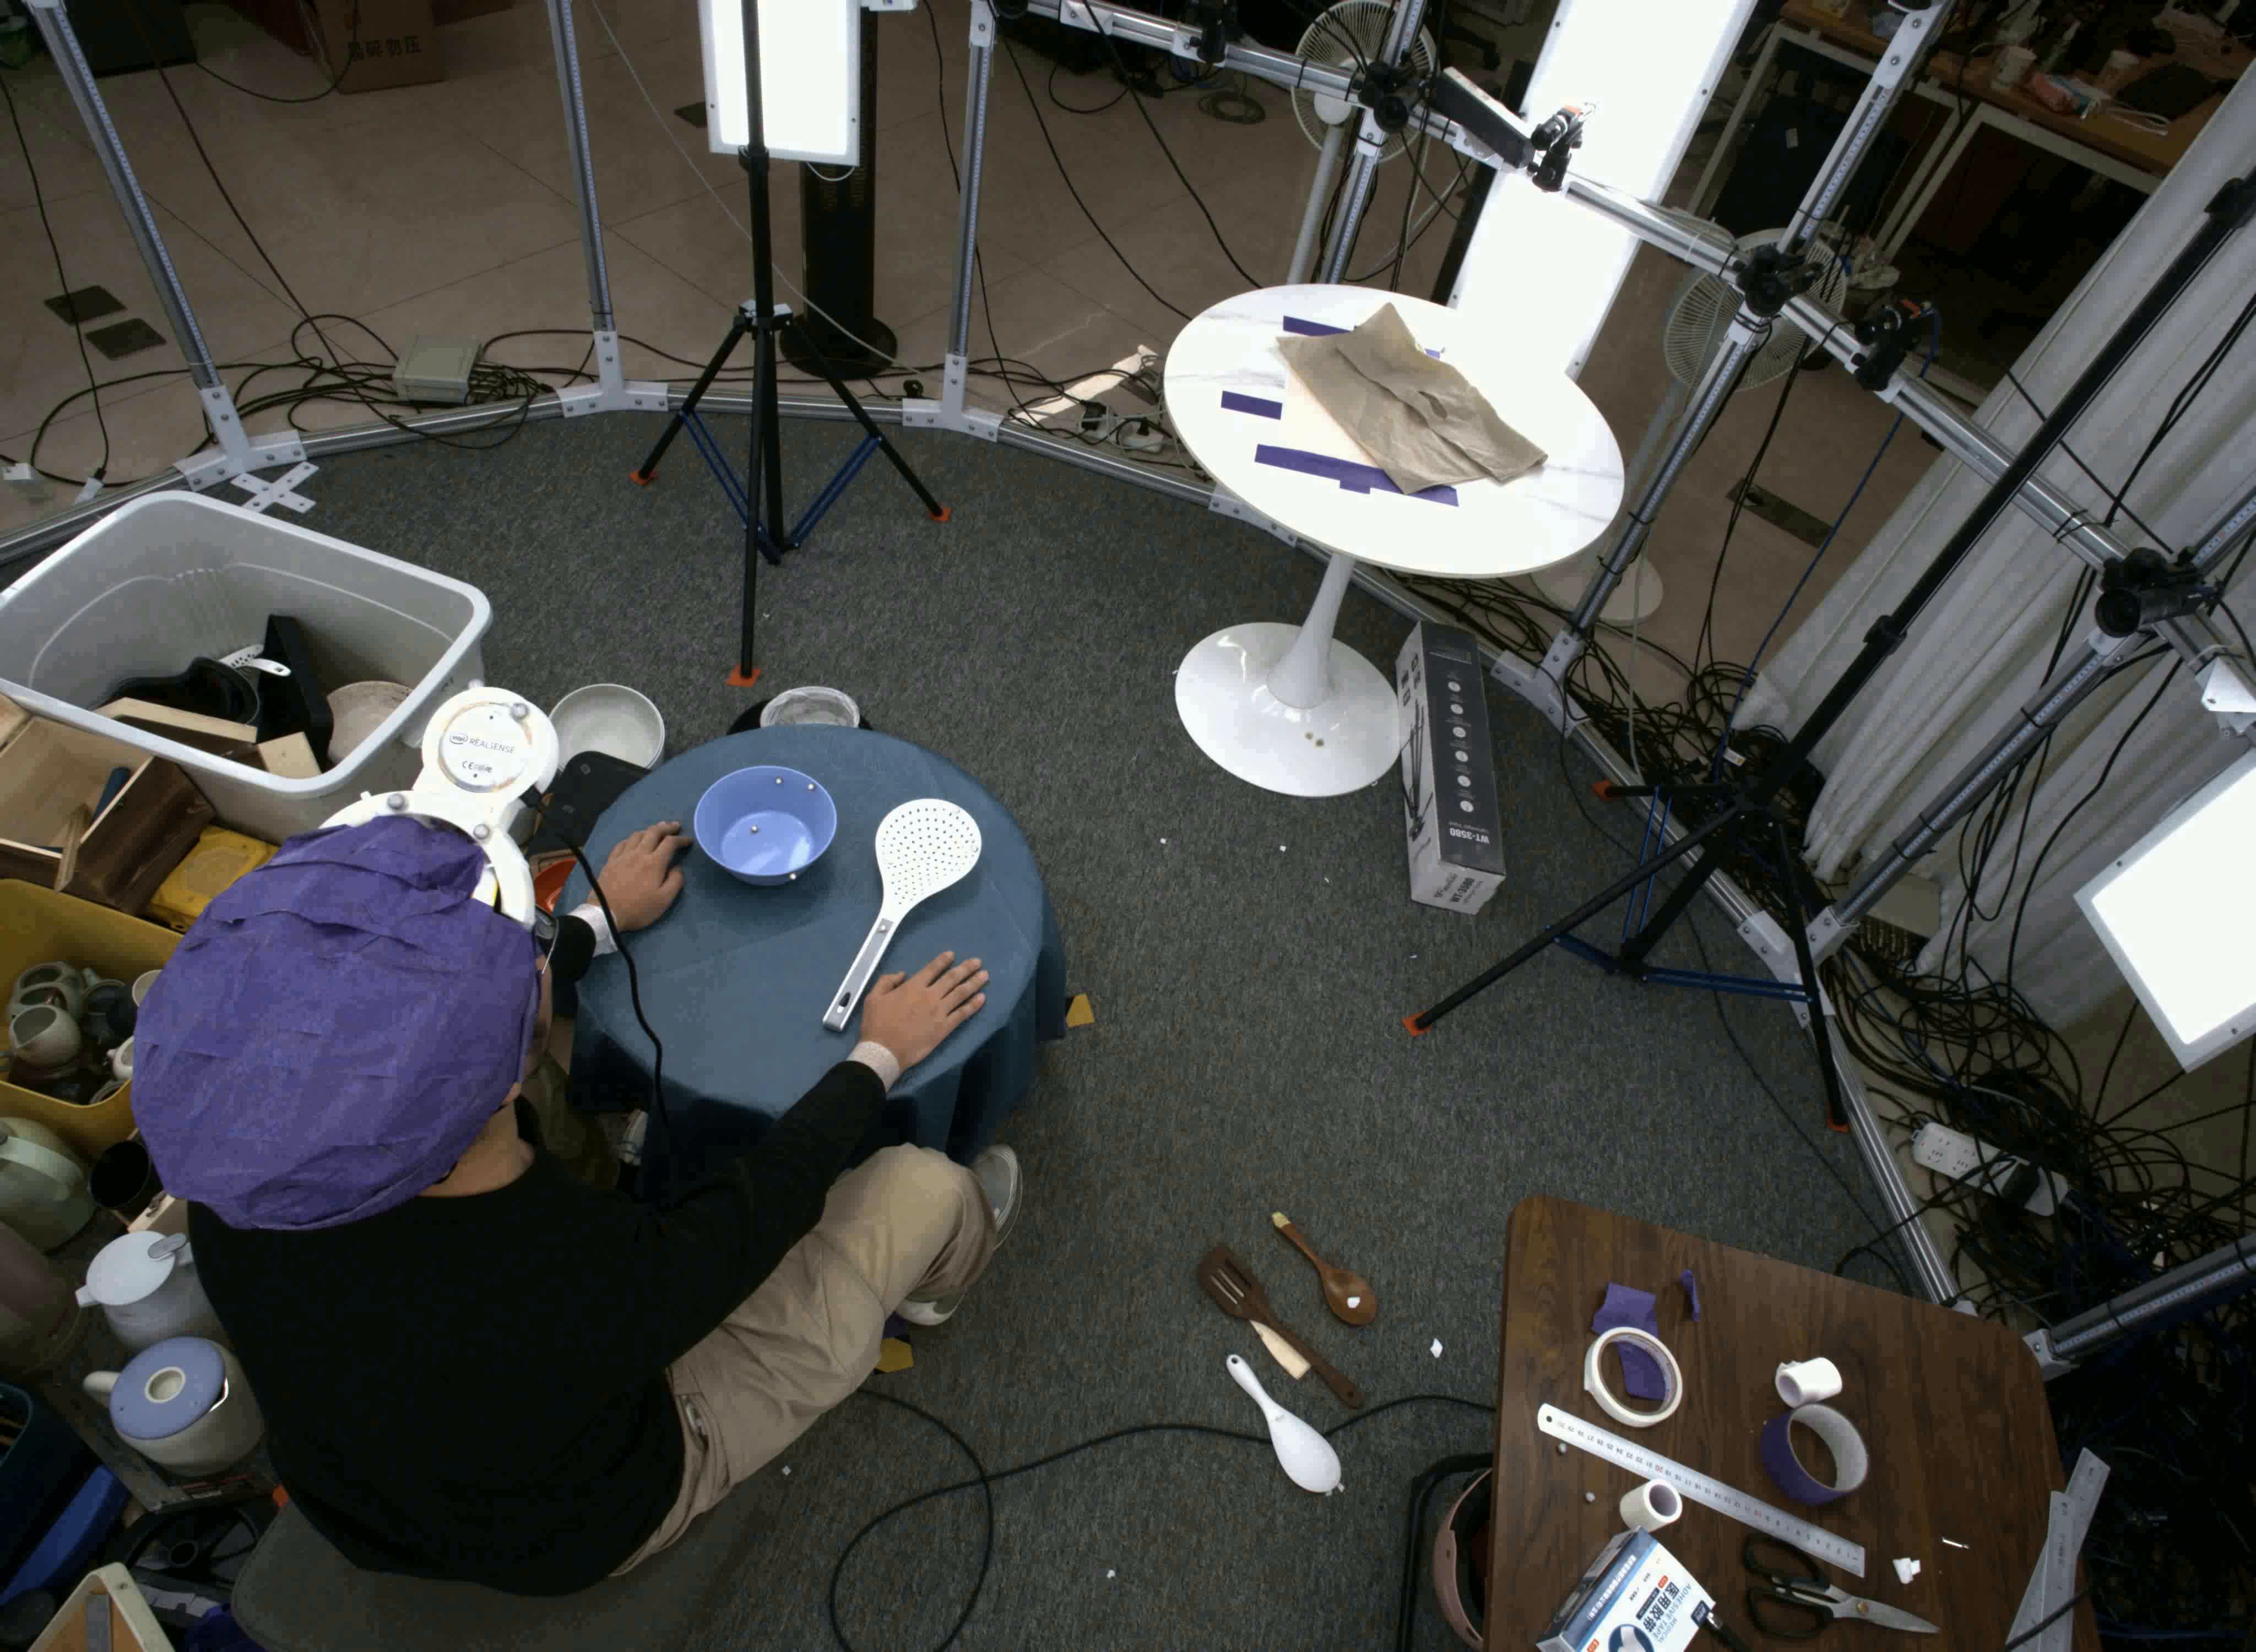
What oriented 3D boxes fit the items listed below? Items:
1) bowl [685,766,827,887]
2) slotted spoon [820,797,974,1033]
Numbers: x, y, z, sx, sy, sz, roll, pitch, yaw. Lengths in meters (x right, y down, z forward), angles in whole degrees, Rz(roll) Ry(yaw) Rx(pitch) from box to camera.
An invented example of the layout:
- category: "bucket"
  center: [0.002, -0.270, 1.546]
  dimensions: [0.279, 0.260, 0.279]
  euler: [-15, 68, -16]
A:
- category: "bowl"
  center: [-0.472, 0.010, 1.653]
  dimensions: [0.175, 0.072, 0.173]
  euler: [7, 53, -8]
- category: "slotted spoon"
  center: [-0.302, 0.106, 1.642]
  dimensions: [0.134, 0.046, 0.346]
  euler: [21, 53, 1]
